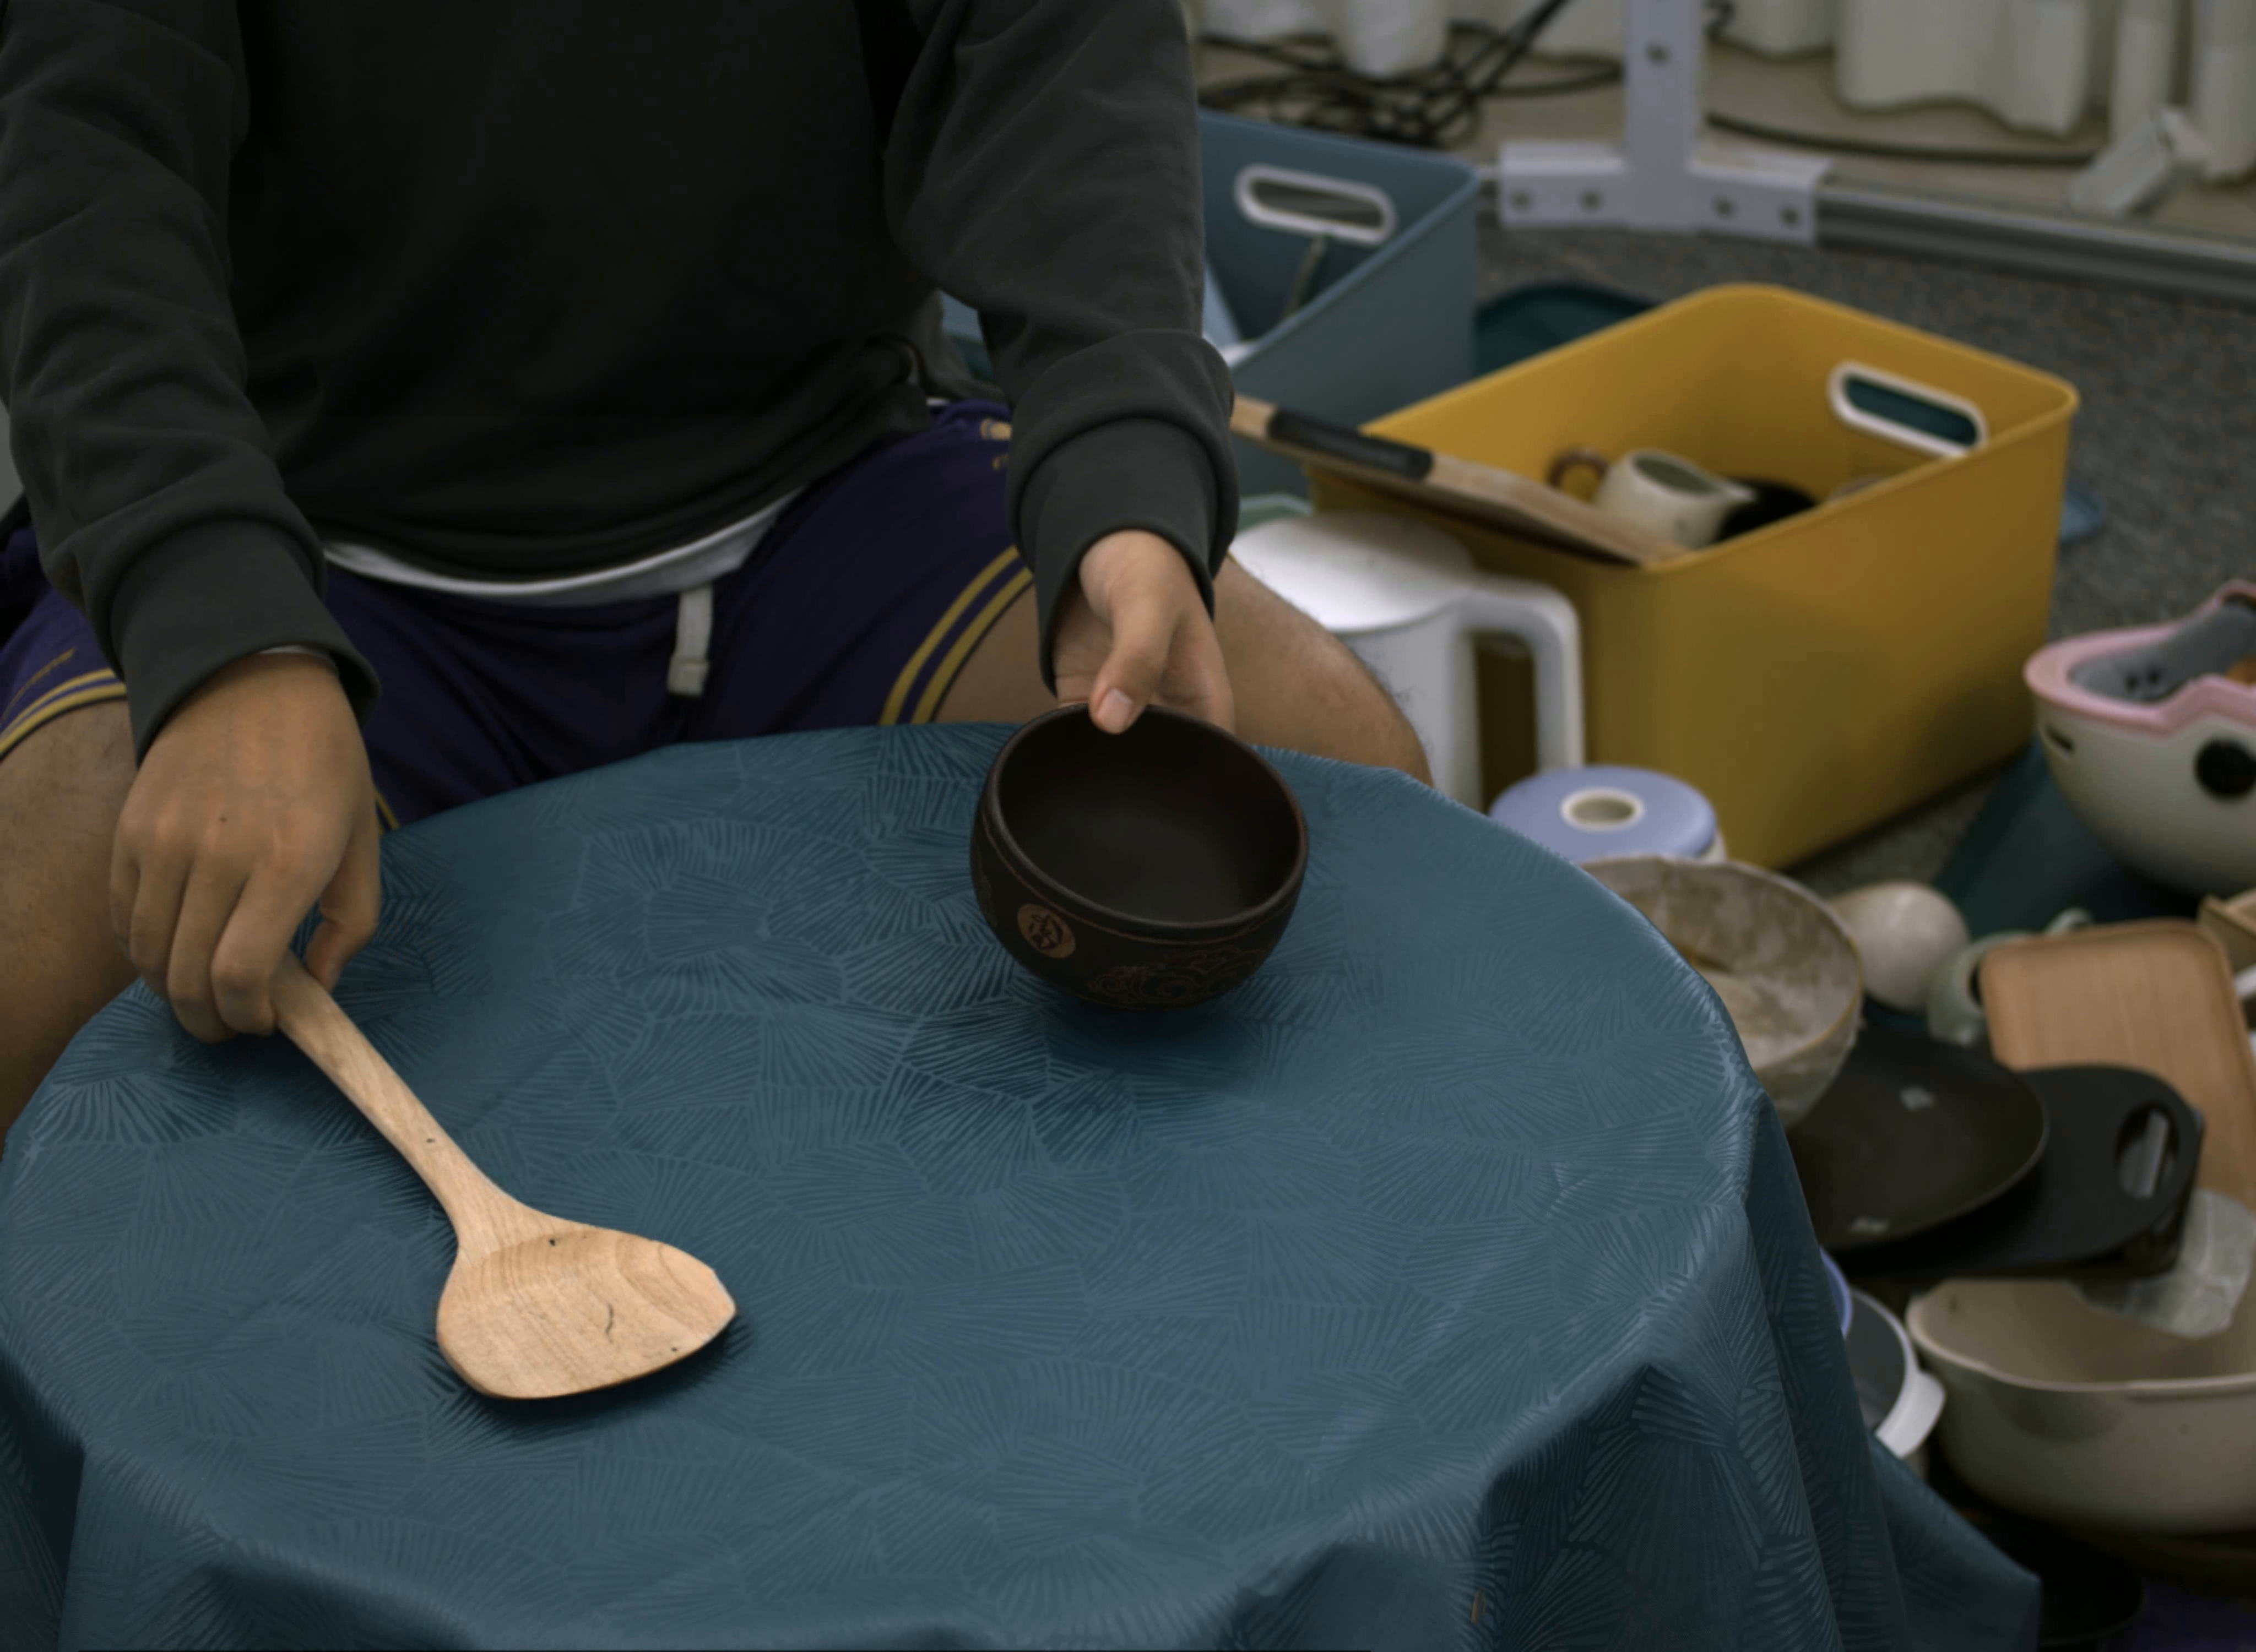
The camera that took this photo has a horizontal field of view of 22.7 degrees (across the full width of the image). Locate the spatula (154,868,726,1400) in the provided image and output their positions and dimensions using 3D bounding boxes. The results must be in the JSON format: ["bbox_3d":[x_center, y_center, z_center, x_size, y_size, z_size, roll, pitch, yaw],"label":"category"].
[{"bbox_3d":[-0.256,0.098,1.906,0.096,0.018,0.393,-15,32,-26],"label":"spatula"}]

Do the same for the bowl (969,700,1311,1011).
[{"bbox_3d":[0.000,0.019,1.968,0.117,0.069,0.120,10,39,-8],"label":"bowl"}]
